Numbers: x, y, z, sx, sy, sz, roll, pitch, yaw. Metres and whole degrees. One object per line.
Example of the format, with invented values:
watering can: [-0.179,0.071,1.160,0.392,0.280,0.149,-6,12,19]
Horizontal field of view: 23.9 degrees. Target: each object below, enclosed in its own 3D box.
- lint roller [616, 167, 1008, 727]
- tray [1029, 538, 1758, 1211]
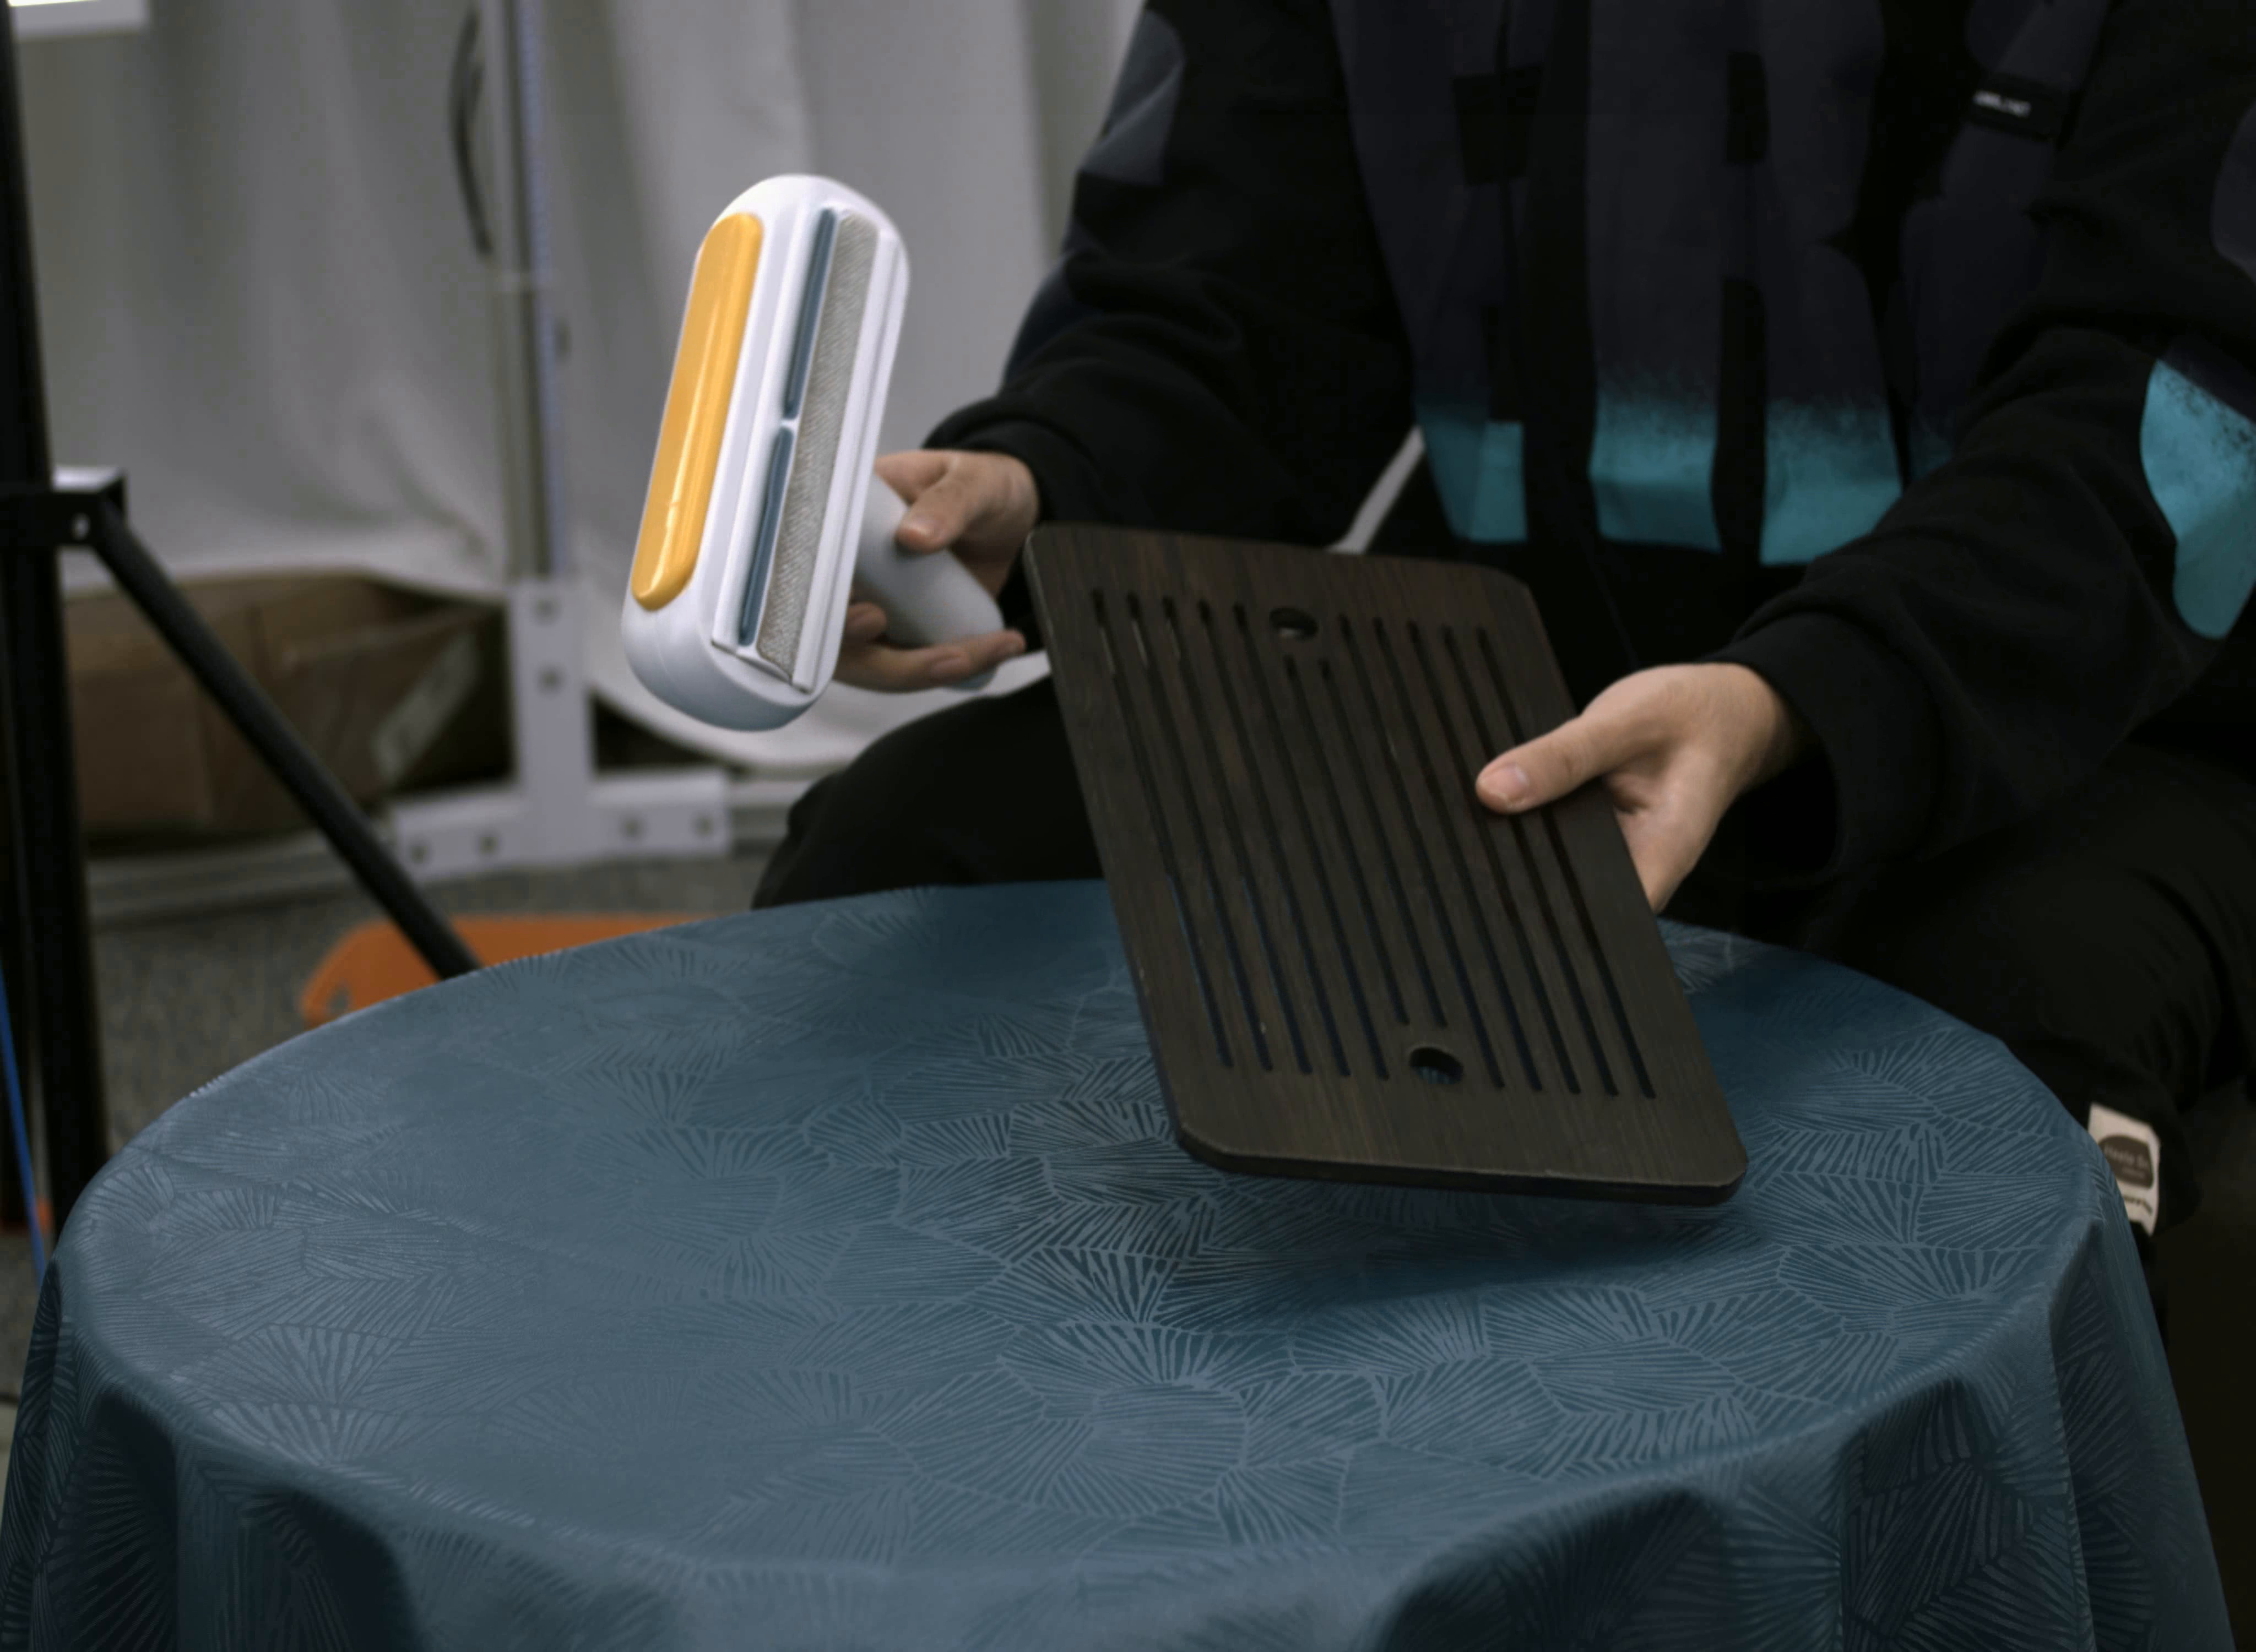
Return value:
lint roller: [-0.090,-0.098,1.795,0.075,0.194,0.188,-18,-40,36]
tray: [0.072,0.012,1.592,0.167,0.018,0.310,4,36,-14]
